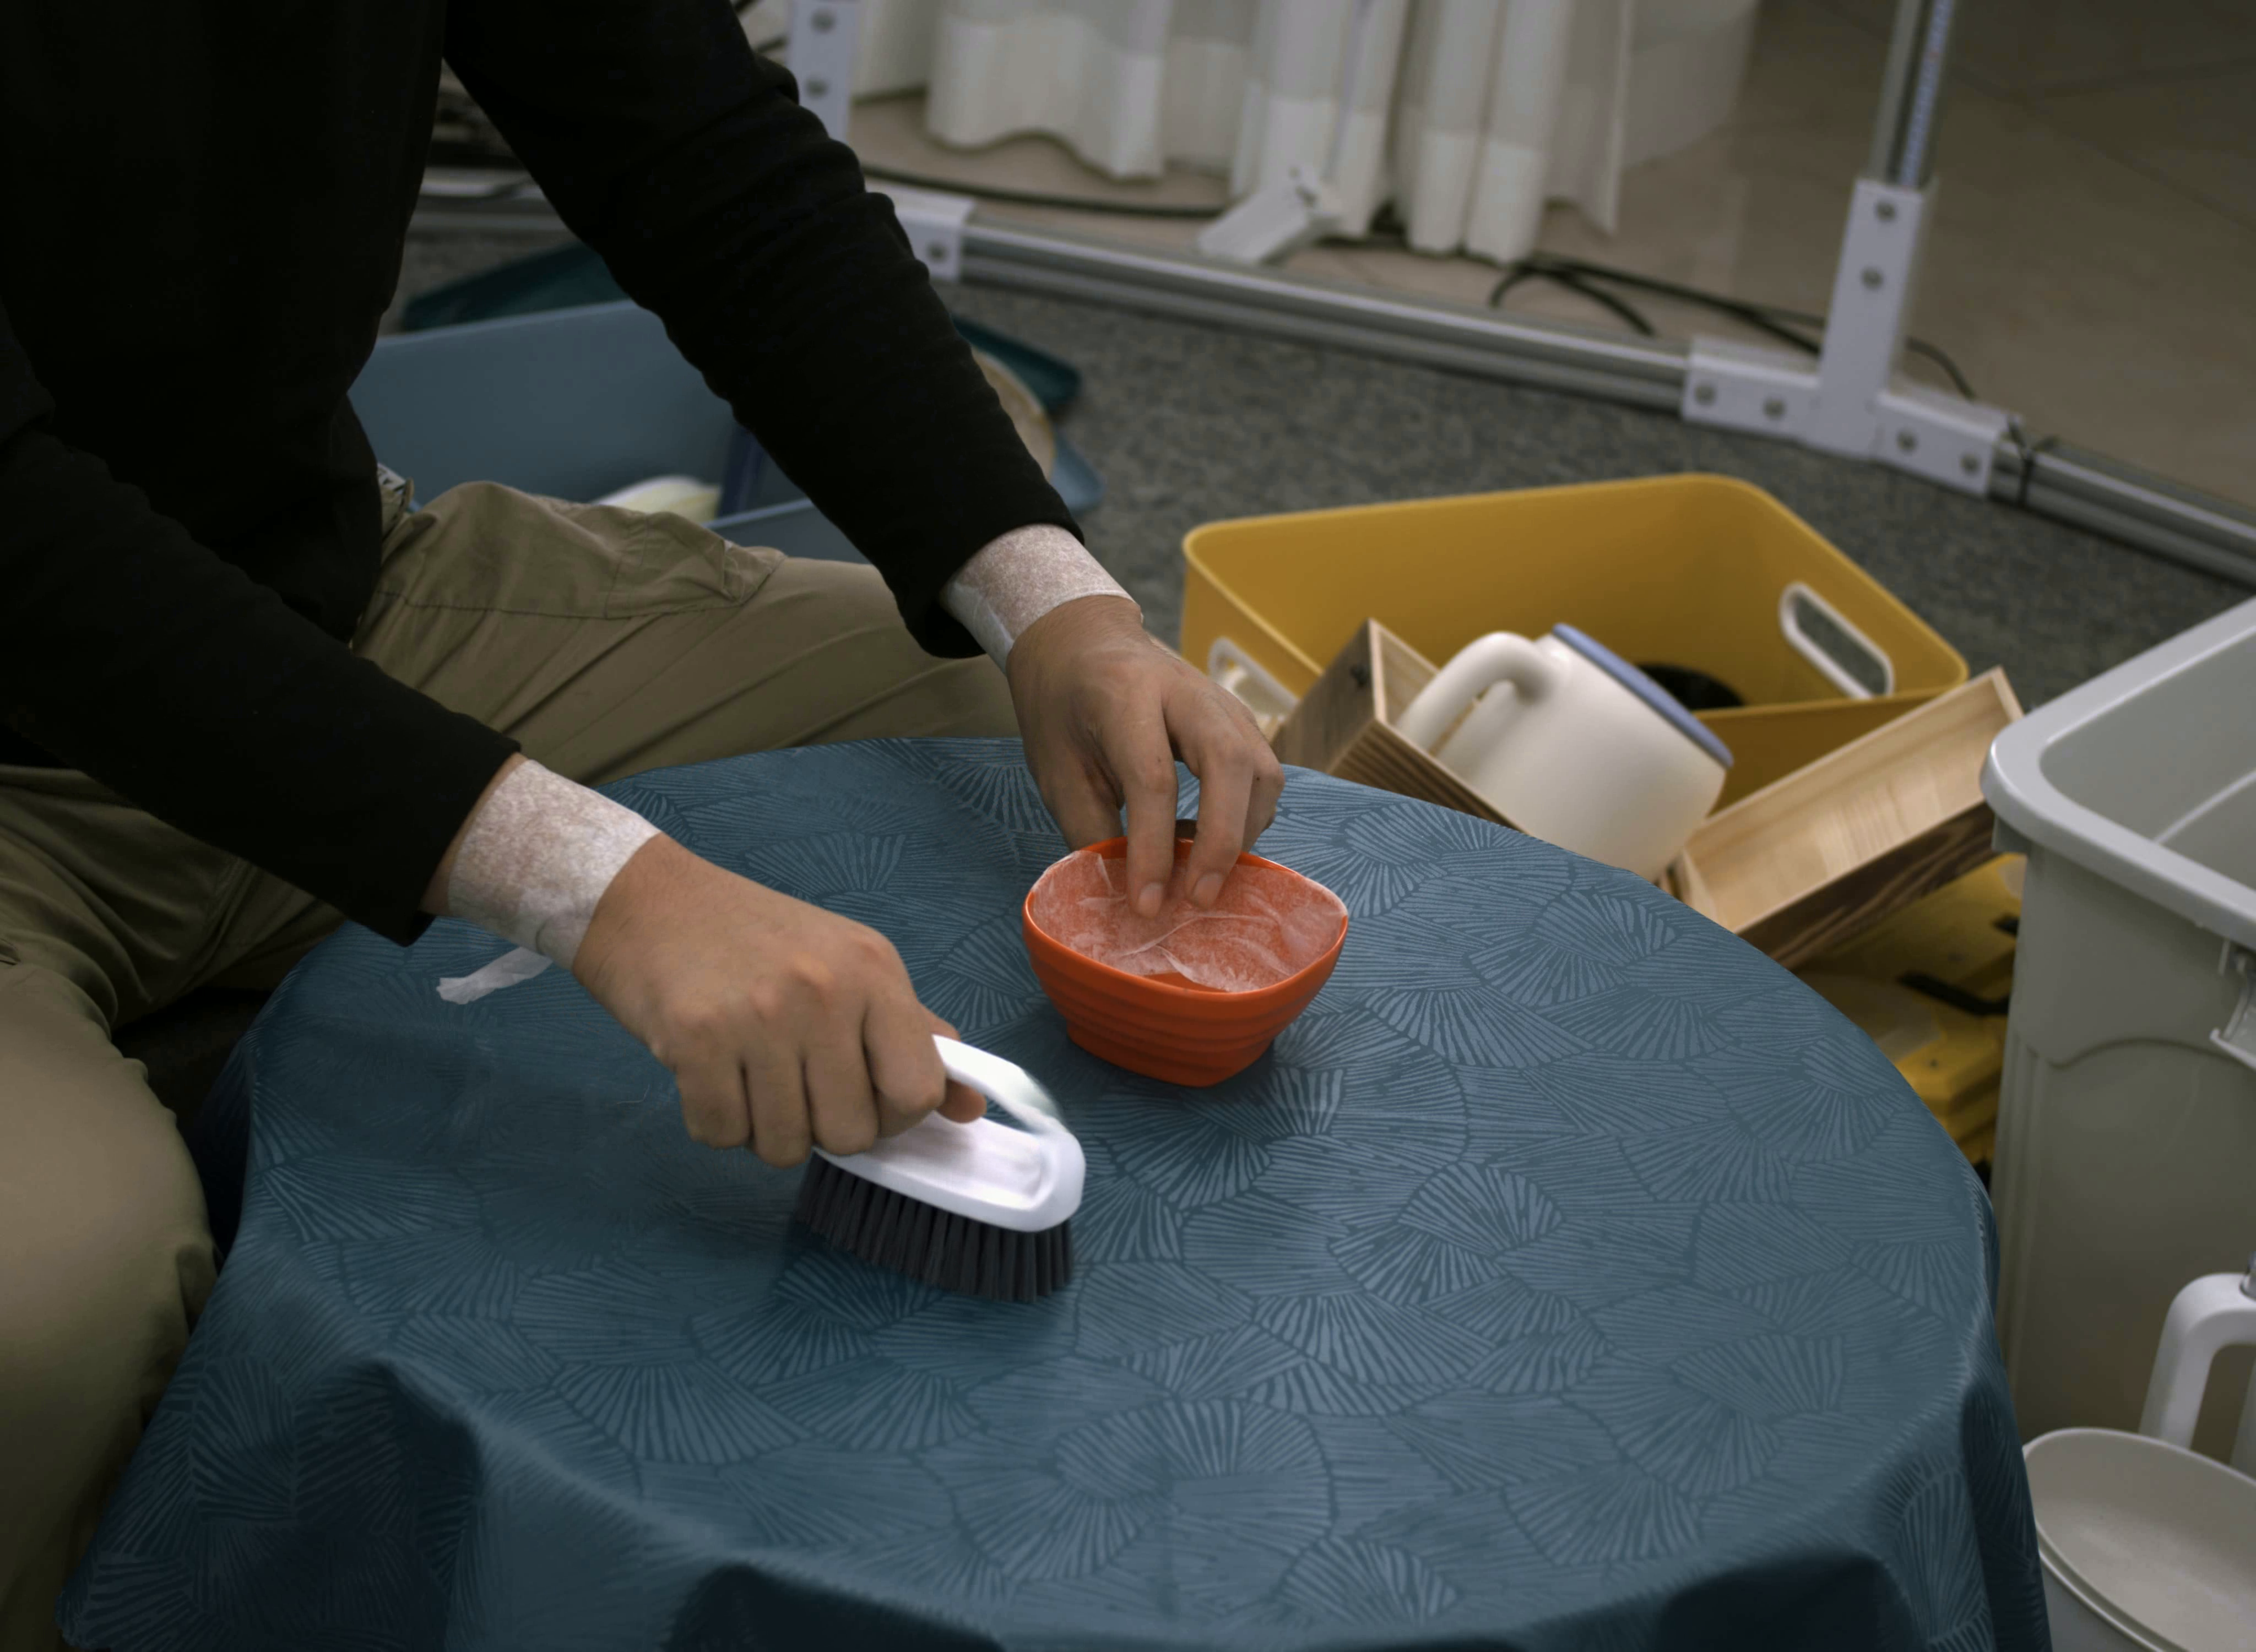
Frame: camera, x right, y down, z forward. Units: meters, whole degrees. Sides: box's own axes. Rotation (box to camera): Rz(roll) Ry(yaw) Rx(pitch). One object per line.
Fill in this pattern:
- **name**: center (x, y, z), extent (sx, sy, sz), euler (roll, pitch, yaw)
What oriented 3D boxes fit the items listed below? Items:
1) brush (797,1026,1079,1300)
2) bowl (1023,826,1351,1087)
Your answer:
- **brush**: center (-0.061, 0.104, 1.746), extent (0.099, 0.072, 0.050), euler (21, 30, 25)
- **bowl**: center (0.018, 0.051, 1.891), extent (0.118, 0.051, 0.119), euler (6, 29, -4)
